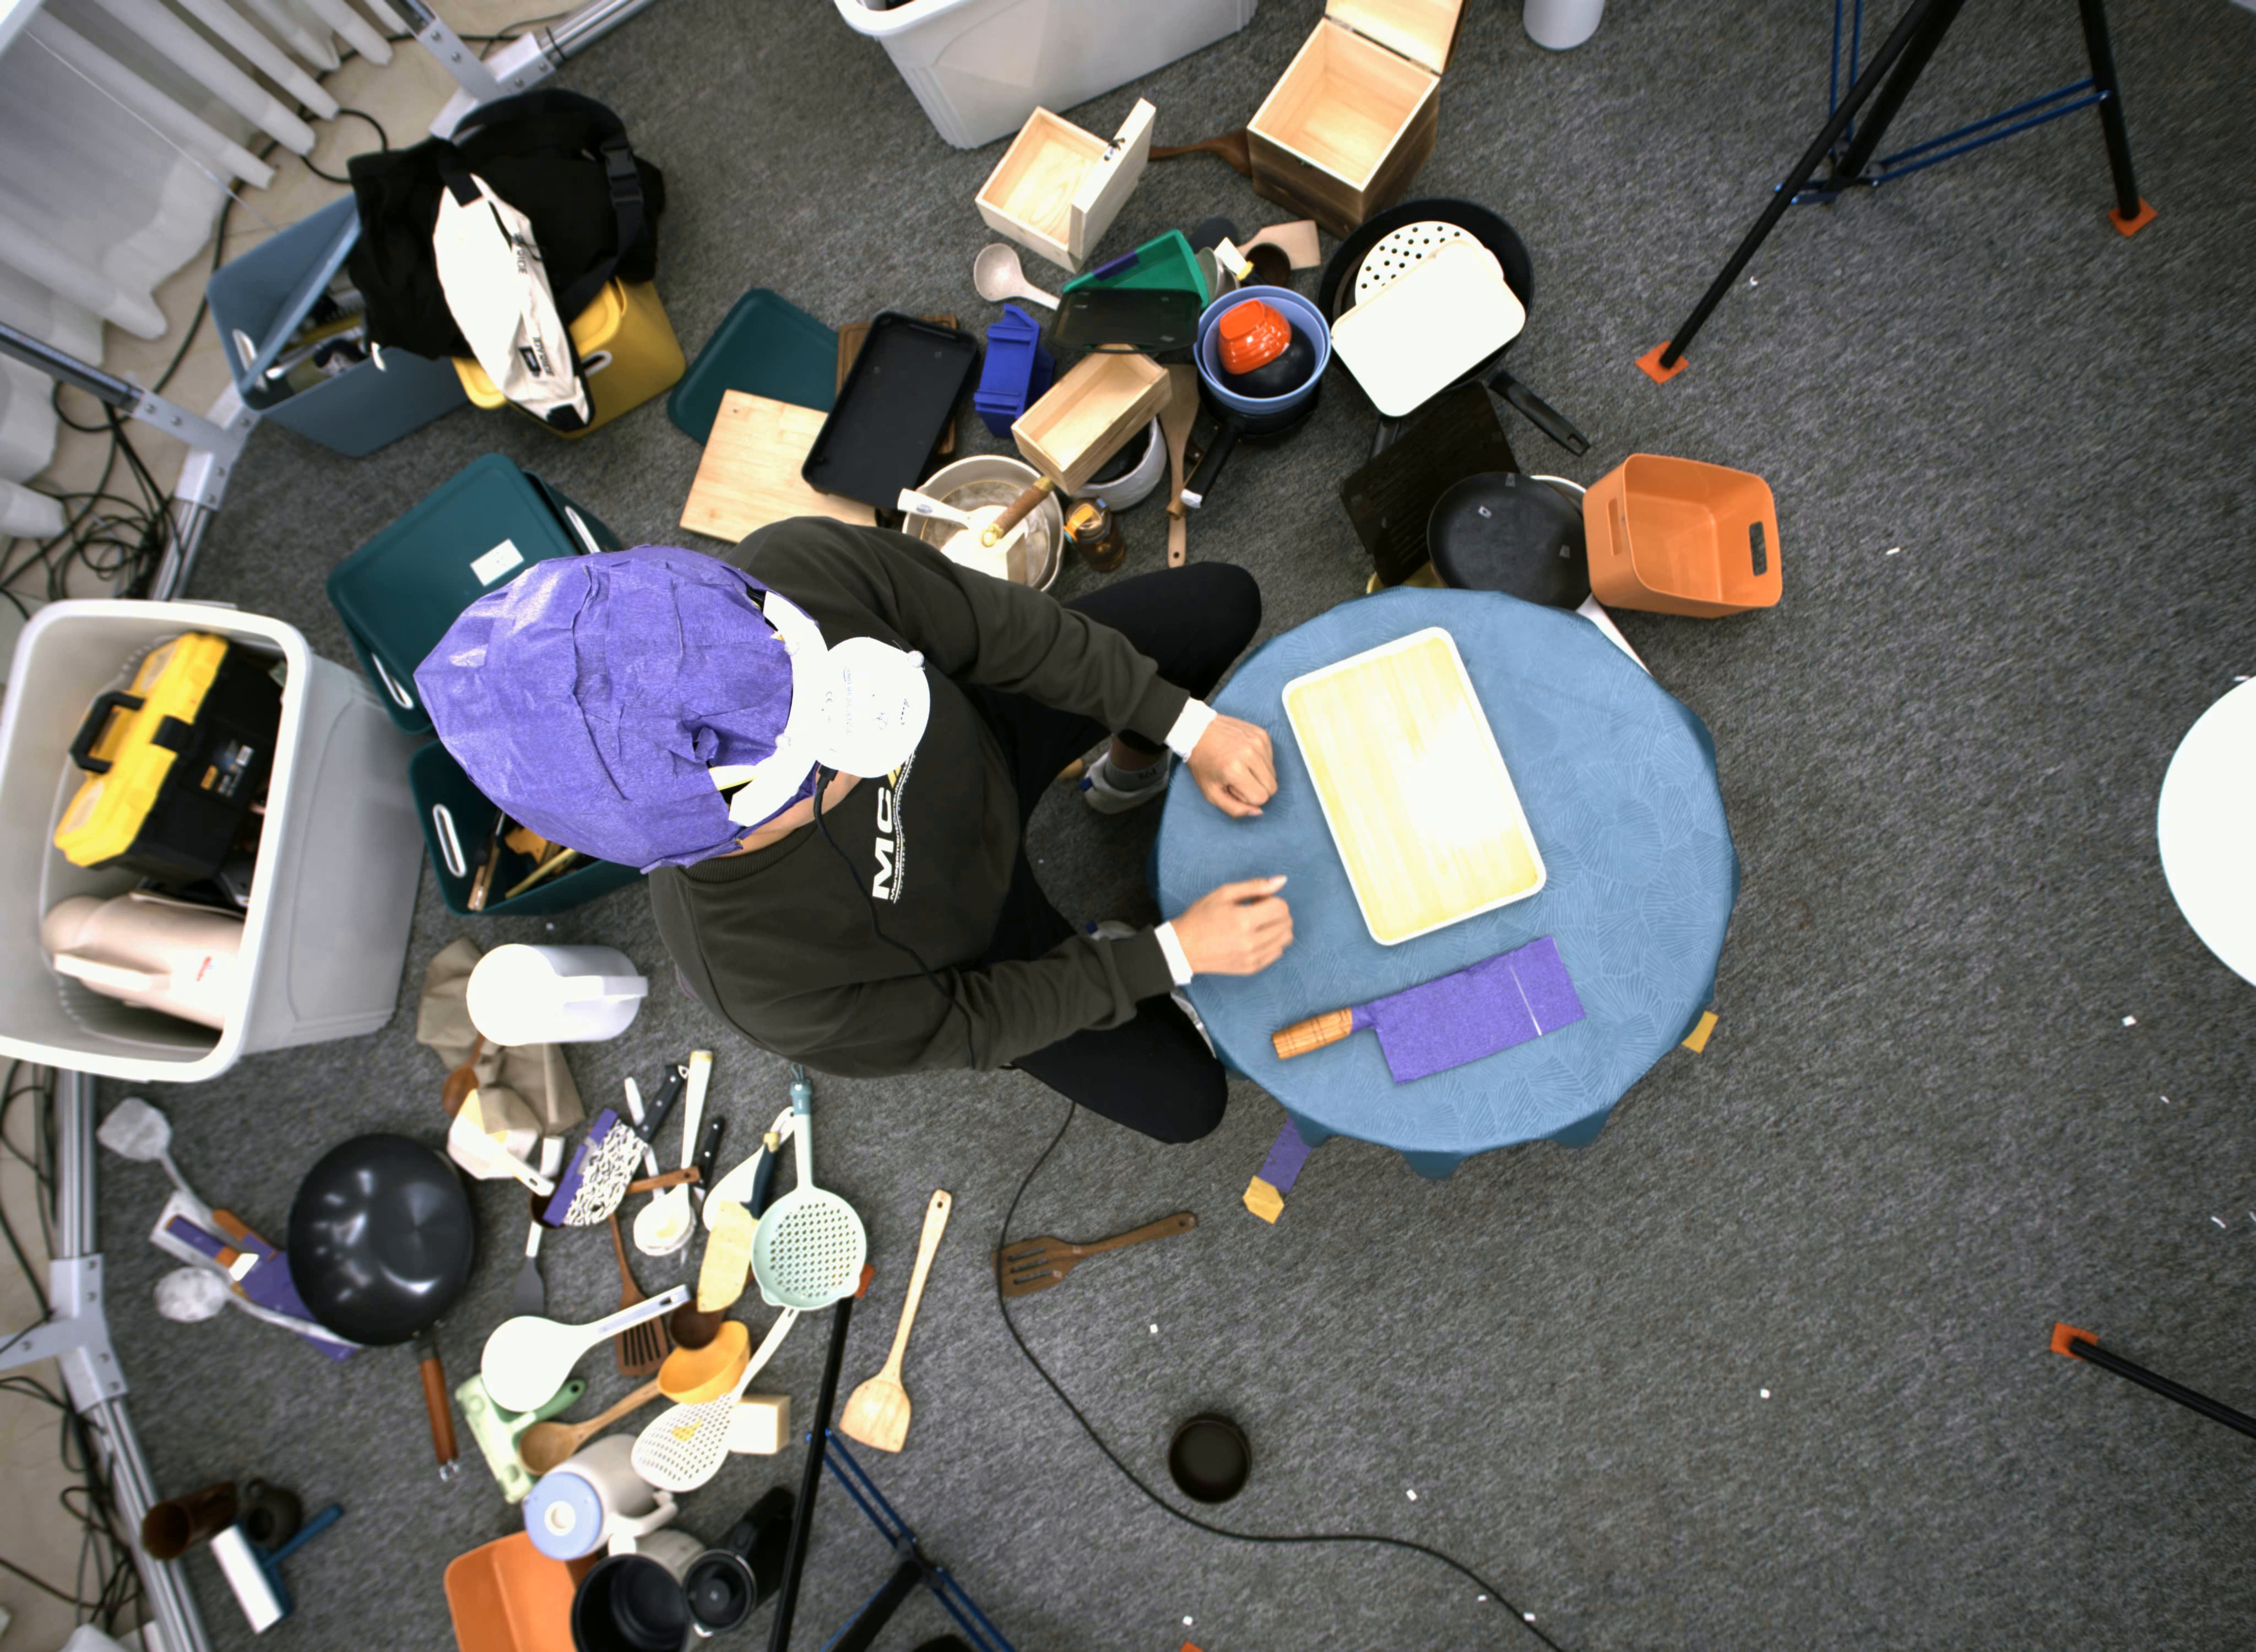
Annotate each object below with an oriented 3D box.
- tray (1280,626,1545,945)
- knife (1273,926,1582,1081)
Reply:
[{"bbox_3d":[0.296,-0.044,1.448,0.193,0.027,0.298,-21,83,9],"label":"tray"},{"bbox_3d":[0.311,0.205,1.431,0.317,0.032,0.103,-22,82,8],"label":"knife"}]
